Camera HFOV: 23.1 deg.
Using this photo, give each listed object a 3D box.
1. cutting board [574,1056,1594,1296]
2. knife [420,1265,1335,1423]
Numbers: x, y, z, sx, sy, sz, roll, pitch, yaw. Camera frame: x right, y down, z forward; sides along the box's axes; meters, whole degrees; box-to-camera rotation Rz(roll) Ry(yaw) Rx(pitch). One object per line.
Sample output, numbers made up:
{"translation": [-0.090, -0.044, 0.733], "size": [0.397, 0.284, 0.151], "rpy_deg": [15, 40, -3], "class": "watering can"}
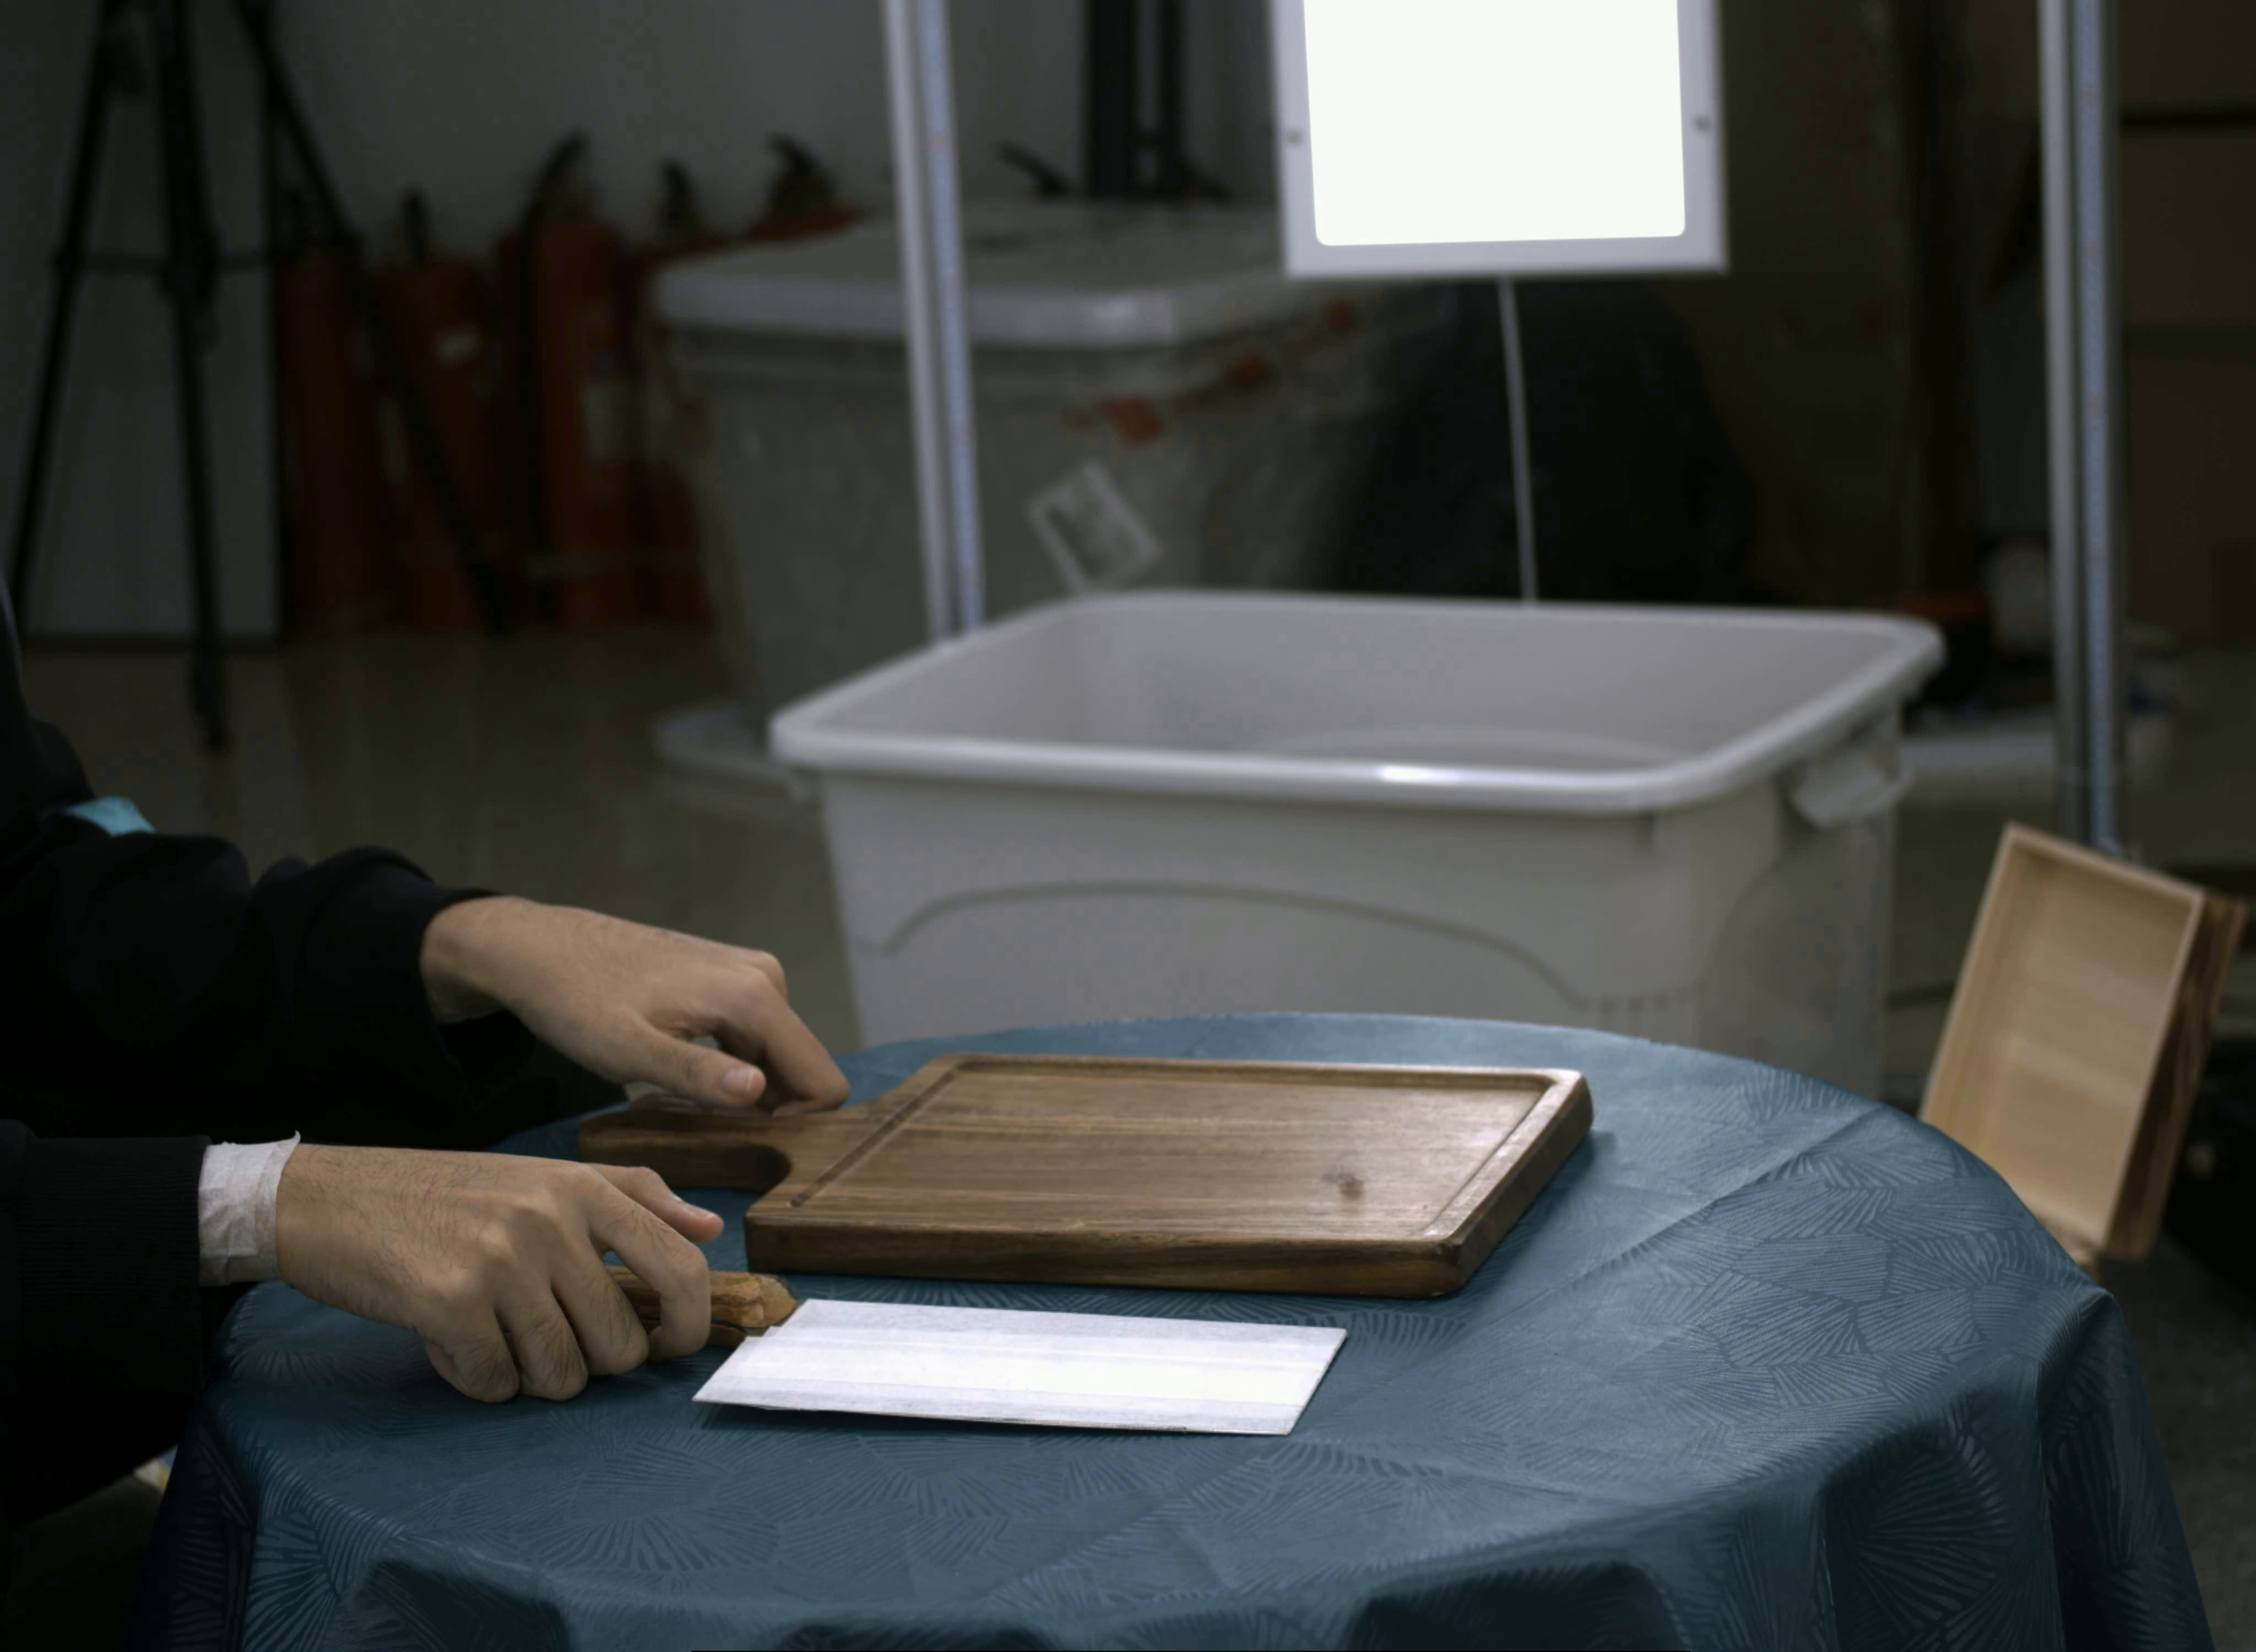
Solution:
{"translation": [-0.028, 0.117, 1.904], "size": [0.357, 0.023, 0.197], "rpy_deg": [0, 15, 21], "class": "cutting board"}
{"translation": [-0.087, 0.166, 1.736], "size": [0.309, 0.021, 0.091], "rpy_deg": [2, 17, 16], "class": "knife"}
